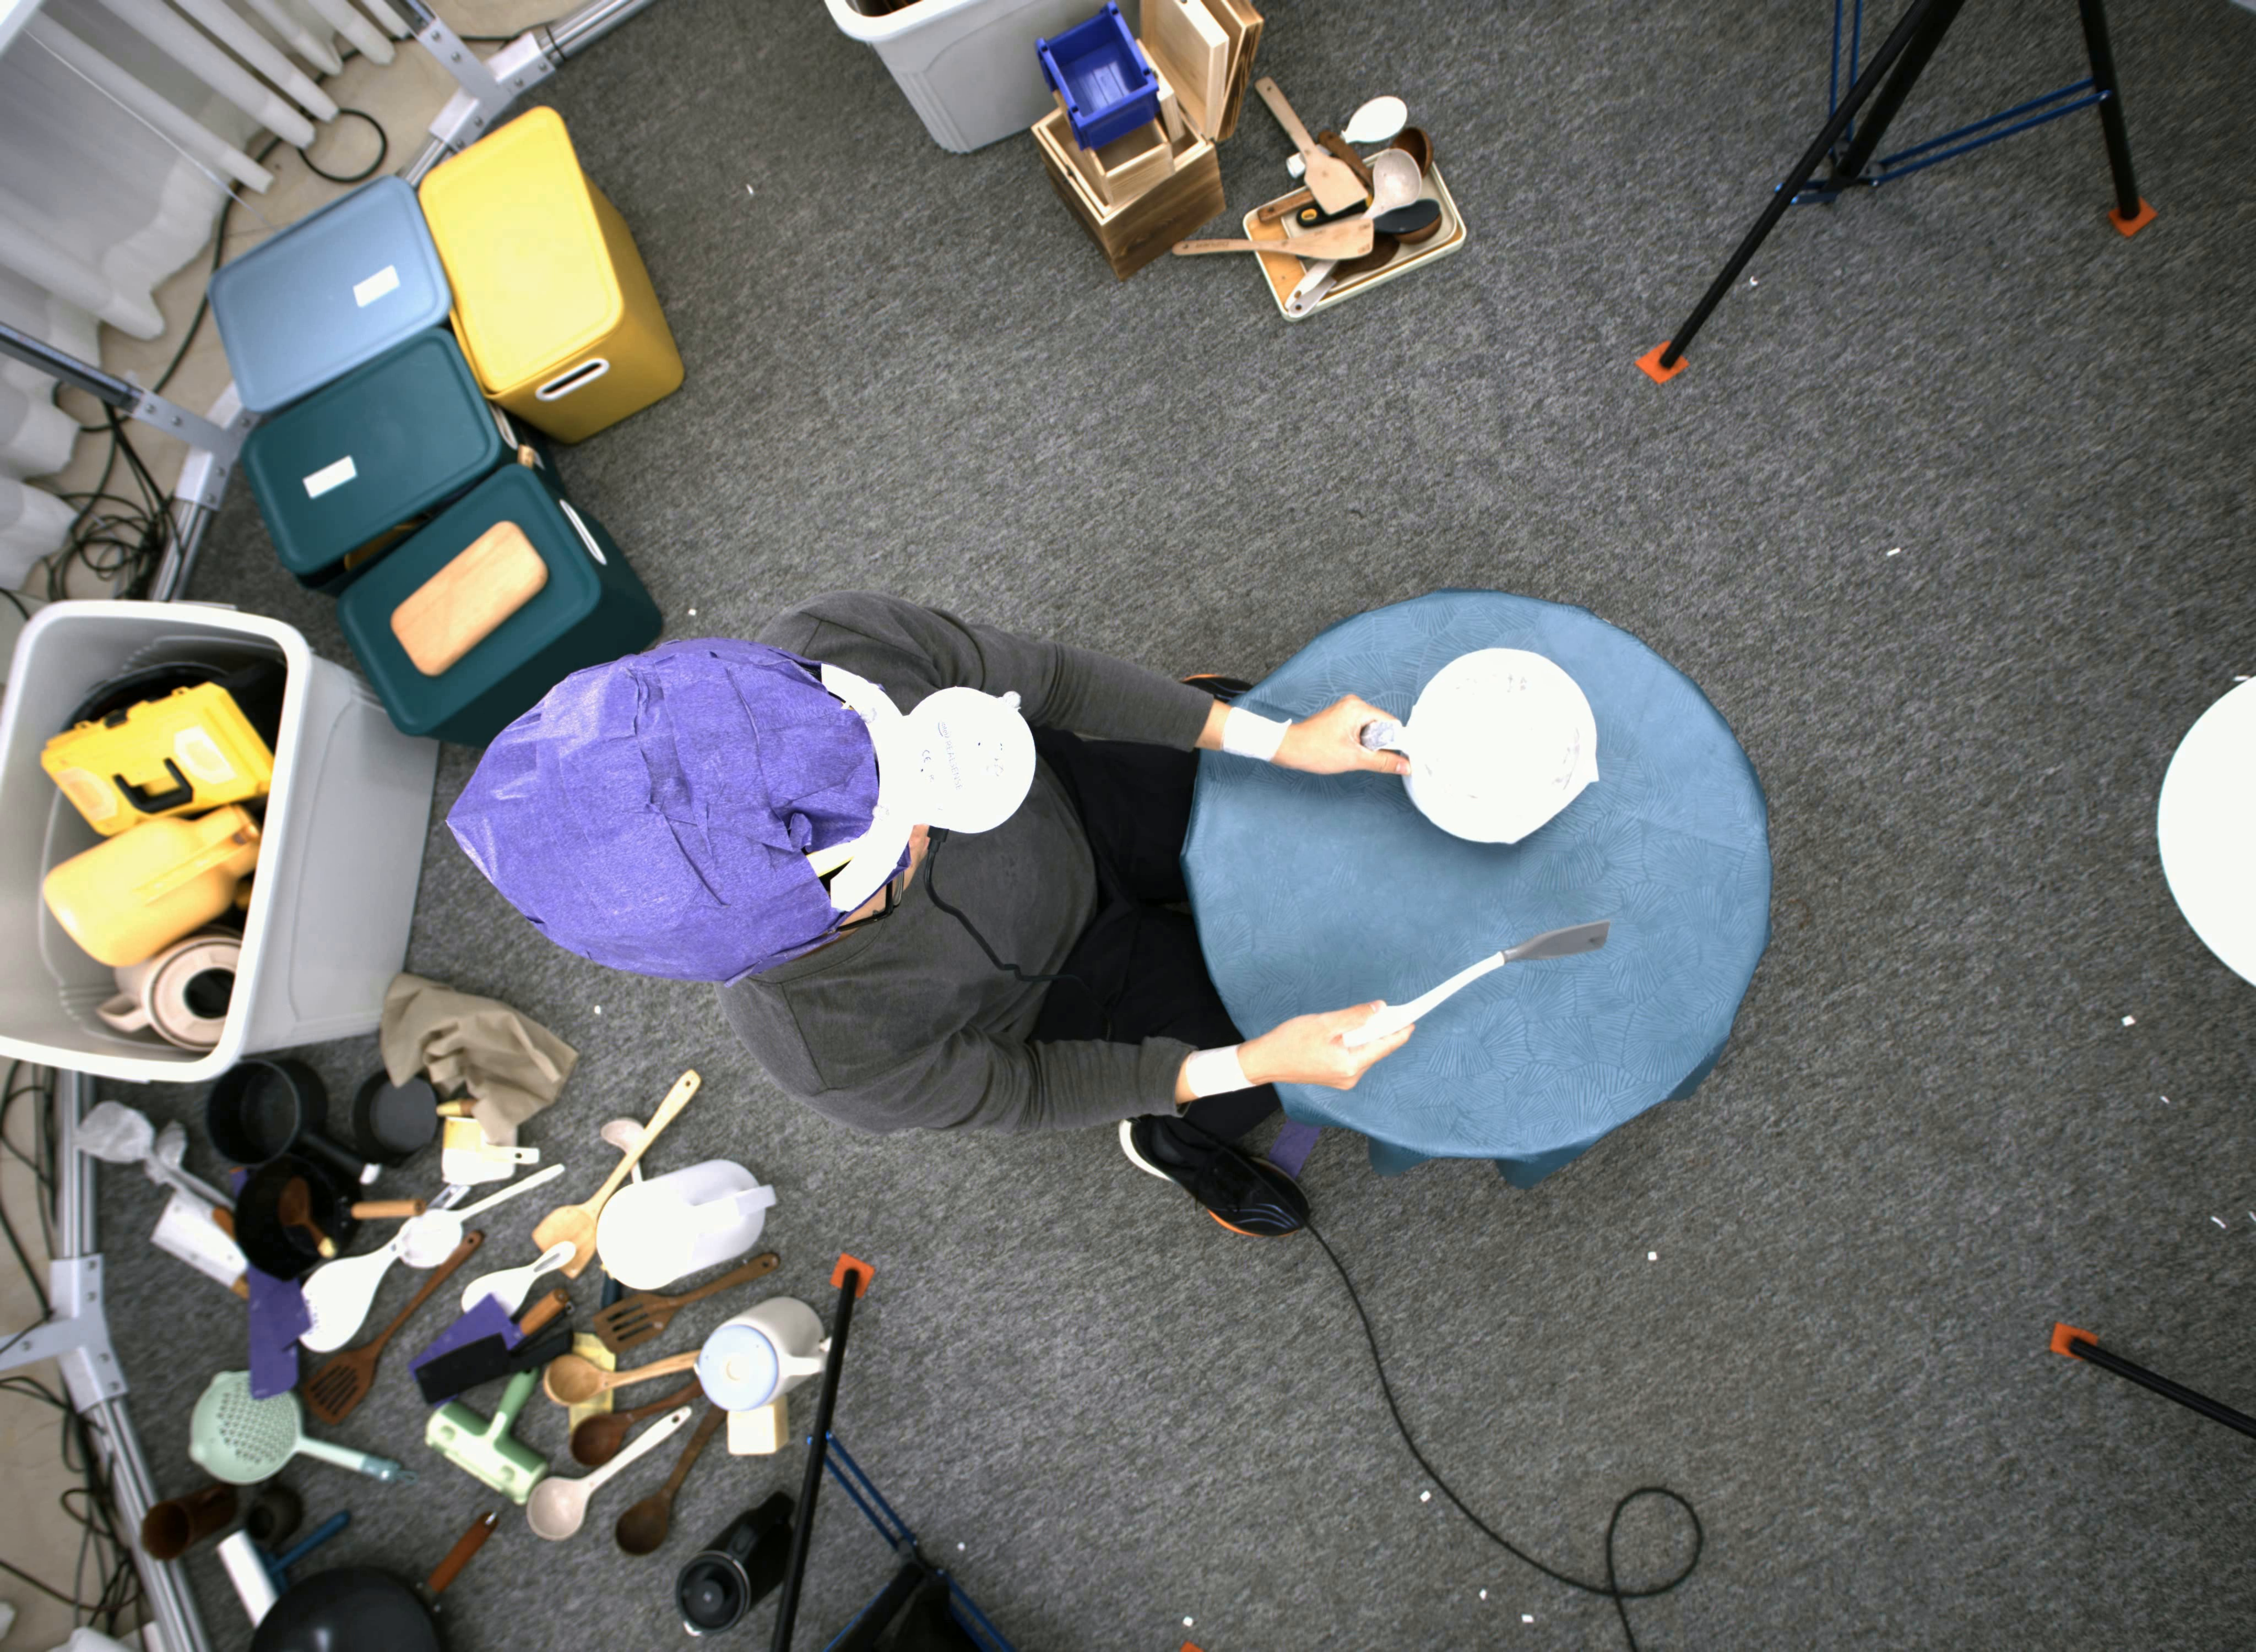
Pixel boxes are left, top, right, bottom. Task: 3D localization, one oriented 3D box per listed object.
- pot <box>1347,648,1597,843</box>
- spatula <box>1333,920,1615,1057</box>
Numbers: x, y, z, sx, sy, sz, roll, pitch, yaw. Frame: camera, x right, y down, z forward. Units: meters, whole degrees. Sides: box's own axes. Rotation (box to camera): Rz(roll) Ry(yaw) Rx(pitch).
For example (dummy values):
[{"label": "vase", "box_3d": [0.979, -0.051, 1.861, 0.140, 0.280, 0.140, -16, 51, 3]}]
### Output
[{"label": "pot", "box_3d": [0.338, -0.079, 1.377, 0.234, 0.137, 0.177, 3, 83, 8]}, {"label": "spatula", "box_3d": [0.332, 0.147, 1.316, 0.287, 0.060, 0.031, -23, 50, -4]}]
